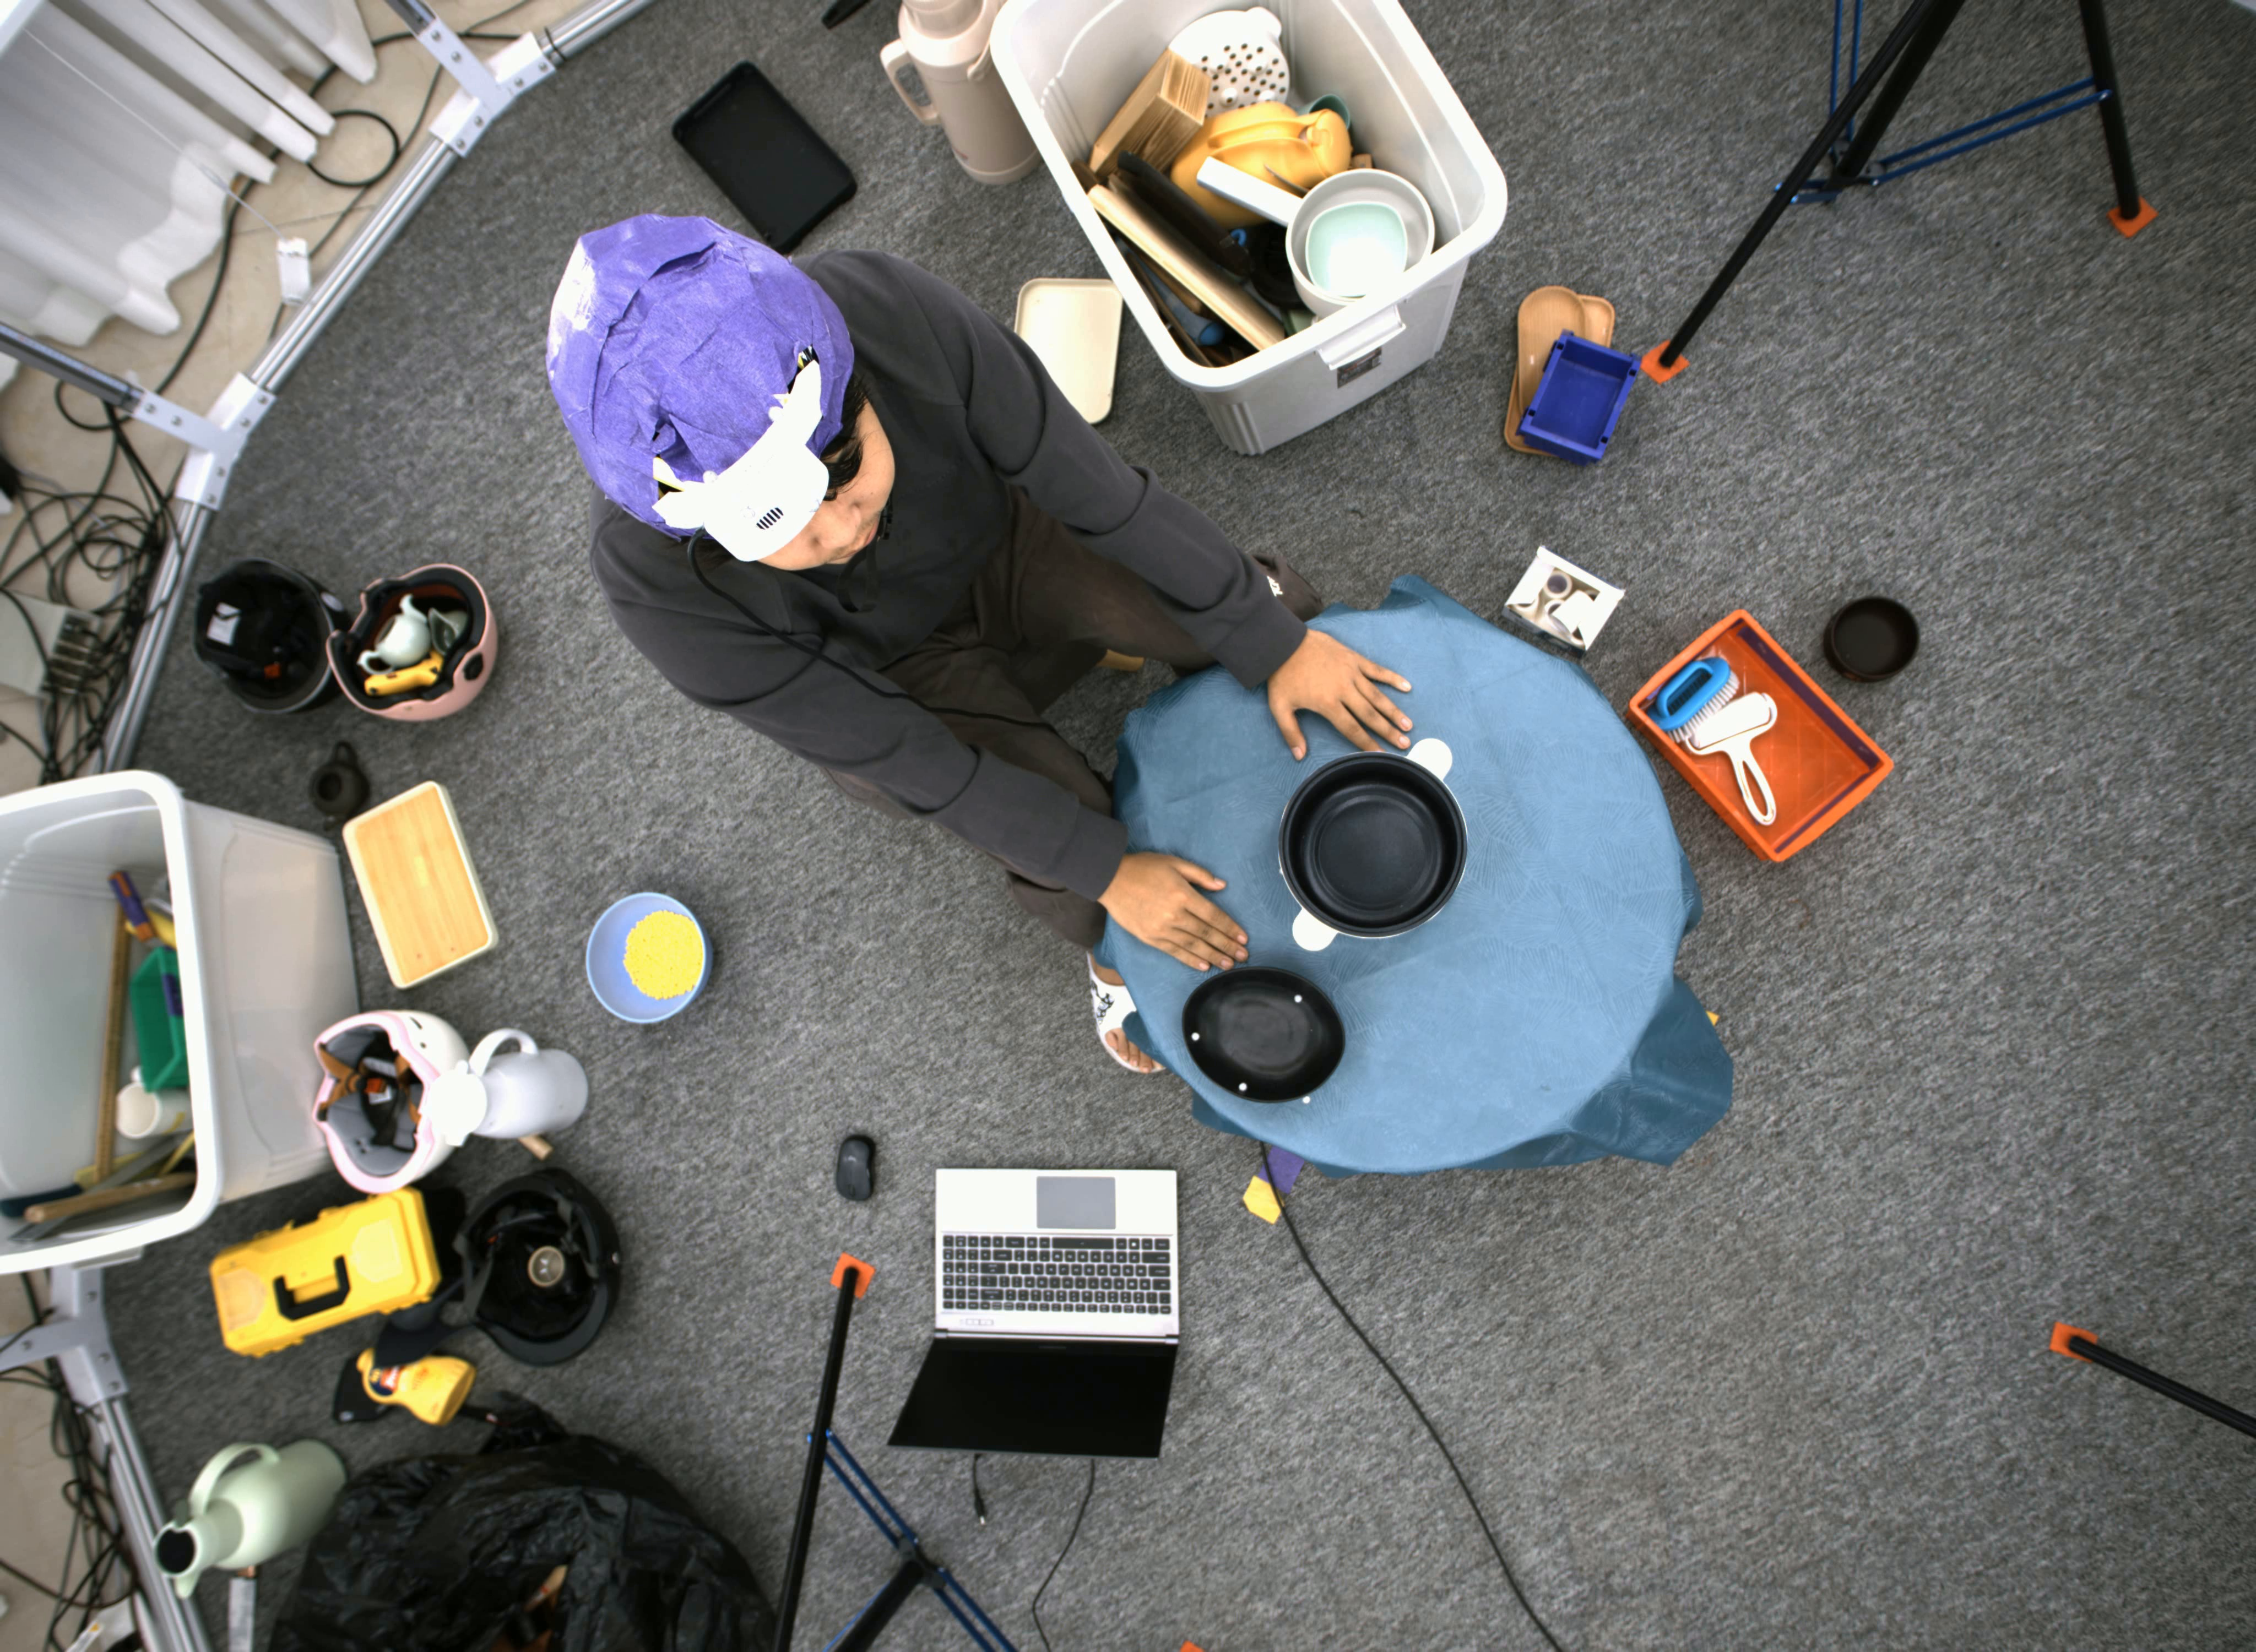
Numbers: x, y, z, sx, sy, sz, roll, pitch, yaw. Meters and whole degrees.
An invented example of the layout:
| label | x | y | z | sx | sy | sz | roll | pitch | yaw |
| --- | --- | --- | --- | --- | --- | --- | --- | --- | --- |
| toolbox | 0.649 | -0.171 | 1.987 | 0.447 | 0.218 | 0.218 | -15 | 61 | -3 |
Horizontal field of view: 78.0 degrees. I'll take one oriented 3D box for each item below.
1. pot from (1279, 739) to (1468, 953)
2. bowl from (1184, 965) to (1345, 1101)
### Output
| label | x | y | z | sx | sy | sz | roll | pitch | yaw |
| --- | --- | --- | --- | --- | --- | --- | --- | --- | --- |
| pot | 0.242 | 0.022 | 1.399 | 0.190 | 0.143 | 0.240 | 34 | 91 | 8 |
| bowl | 0.142 | 0.213 | 1.445 | 0.170 | 0.067 | 0.137 | 11 | 88 | 13 |
